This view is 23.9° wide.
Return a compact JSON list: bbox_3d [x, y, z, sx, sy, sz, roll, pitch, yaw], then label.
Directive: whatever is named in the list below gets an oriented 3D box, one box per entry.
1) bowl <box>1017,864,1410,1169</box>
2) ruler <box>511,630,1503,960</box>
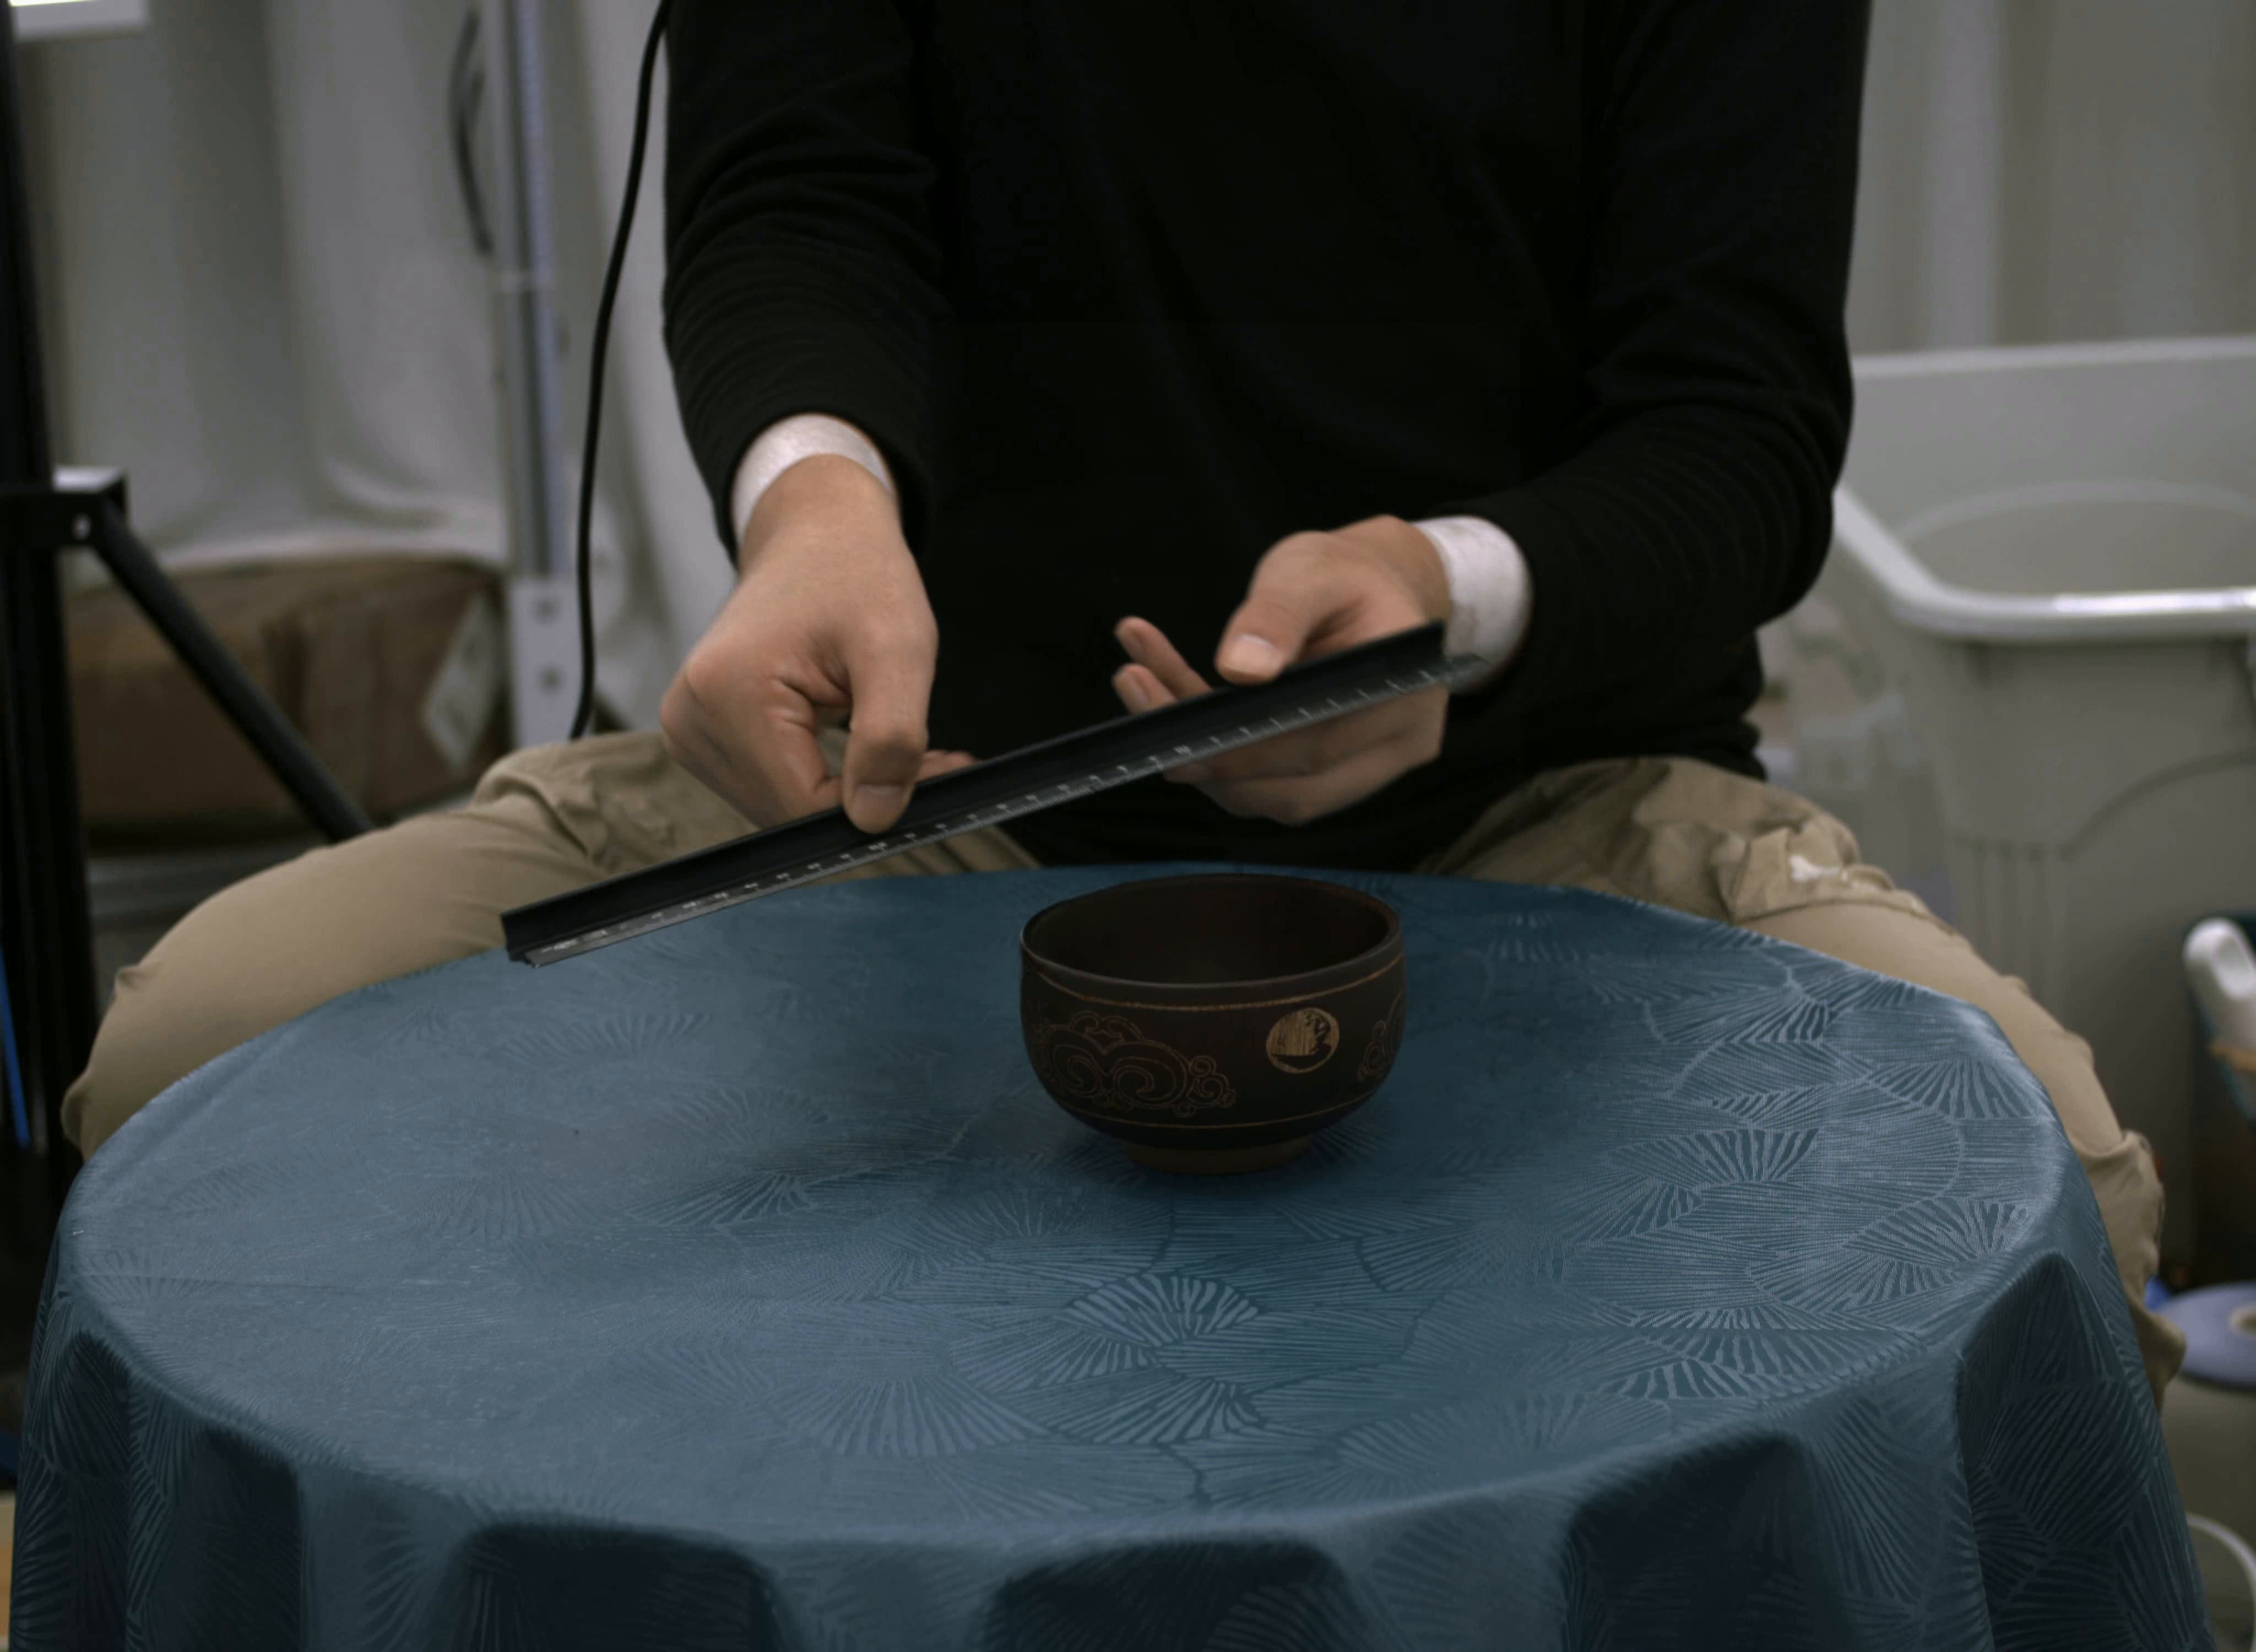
[{"bbox_3d":[0.026,0.061,1.585,0.117,0.070,0.118,-2,16,-1],"label":"bowl"},{"bbox_3d":[-0.034,-0.010,1.596,0.308,0.017,0.040,-17,11,-14],"label":"ruler"}]
